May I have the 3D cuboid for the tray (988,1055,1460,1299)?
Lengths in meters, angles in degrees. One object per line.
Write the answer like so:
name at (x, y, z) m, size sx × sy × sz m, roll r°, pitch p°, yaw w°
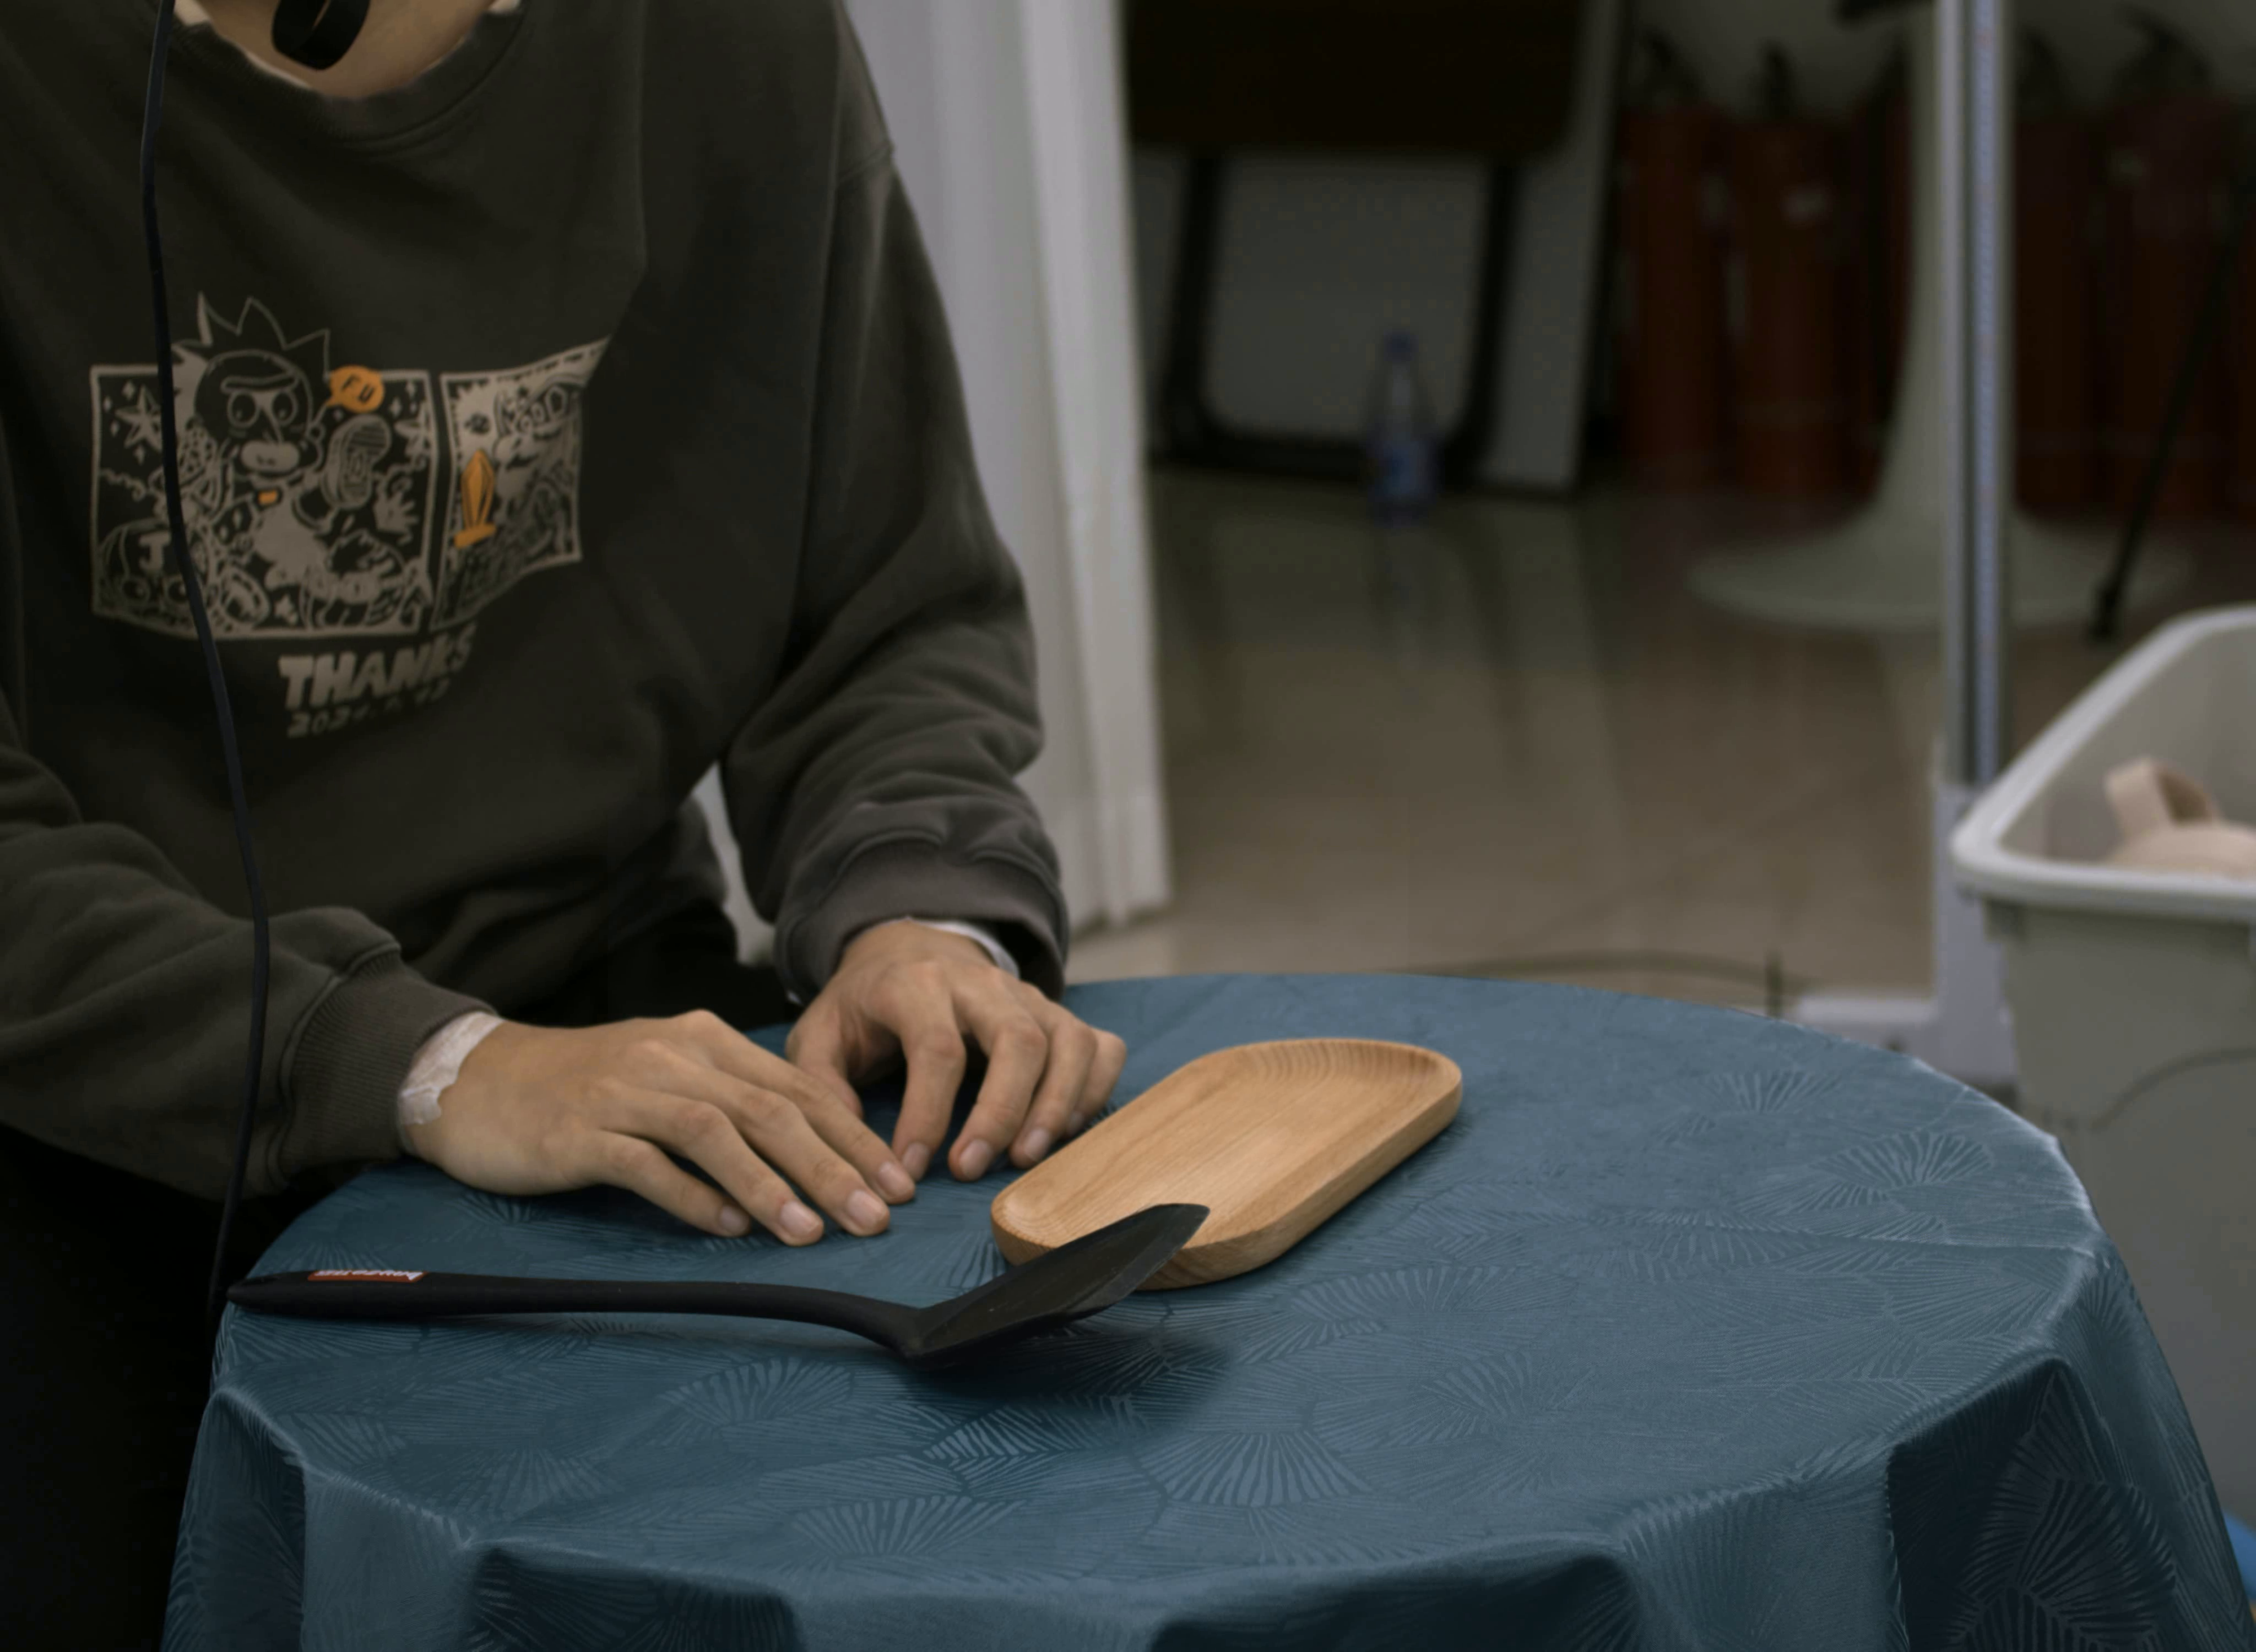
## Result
tray at (0.034, 0.113, 1.768) m, size 0.102 × 0.020 × 0.228 m, roll 2°, pitch 16°, yaw 27°

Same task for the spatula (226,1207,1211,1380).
spatula at (-0.134, 0.142, 1.657) m, size 0.326 × 0.041 × 0.098 m, roll 1°, pitch 13°, yaw 22°
